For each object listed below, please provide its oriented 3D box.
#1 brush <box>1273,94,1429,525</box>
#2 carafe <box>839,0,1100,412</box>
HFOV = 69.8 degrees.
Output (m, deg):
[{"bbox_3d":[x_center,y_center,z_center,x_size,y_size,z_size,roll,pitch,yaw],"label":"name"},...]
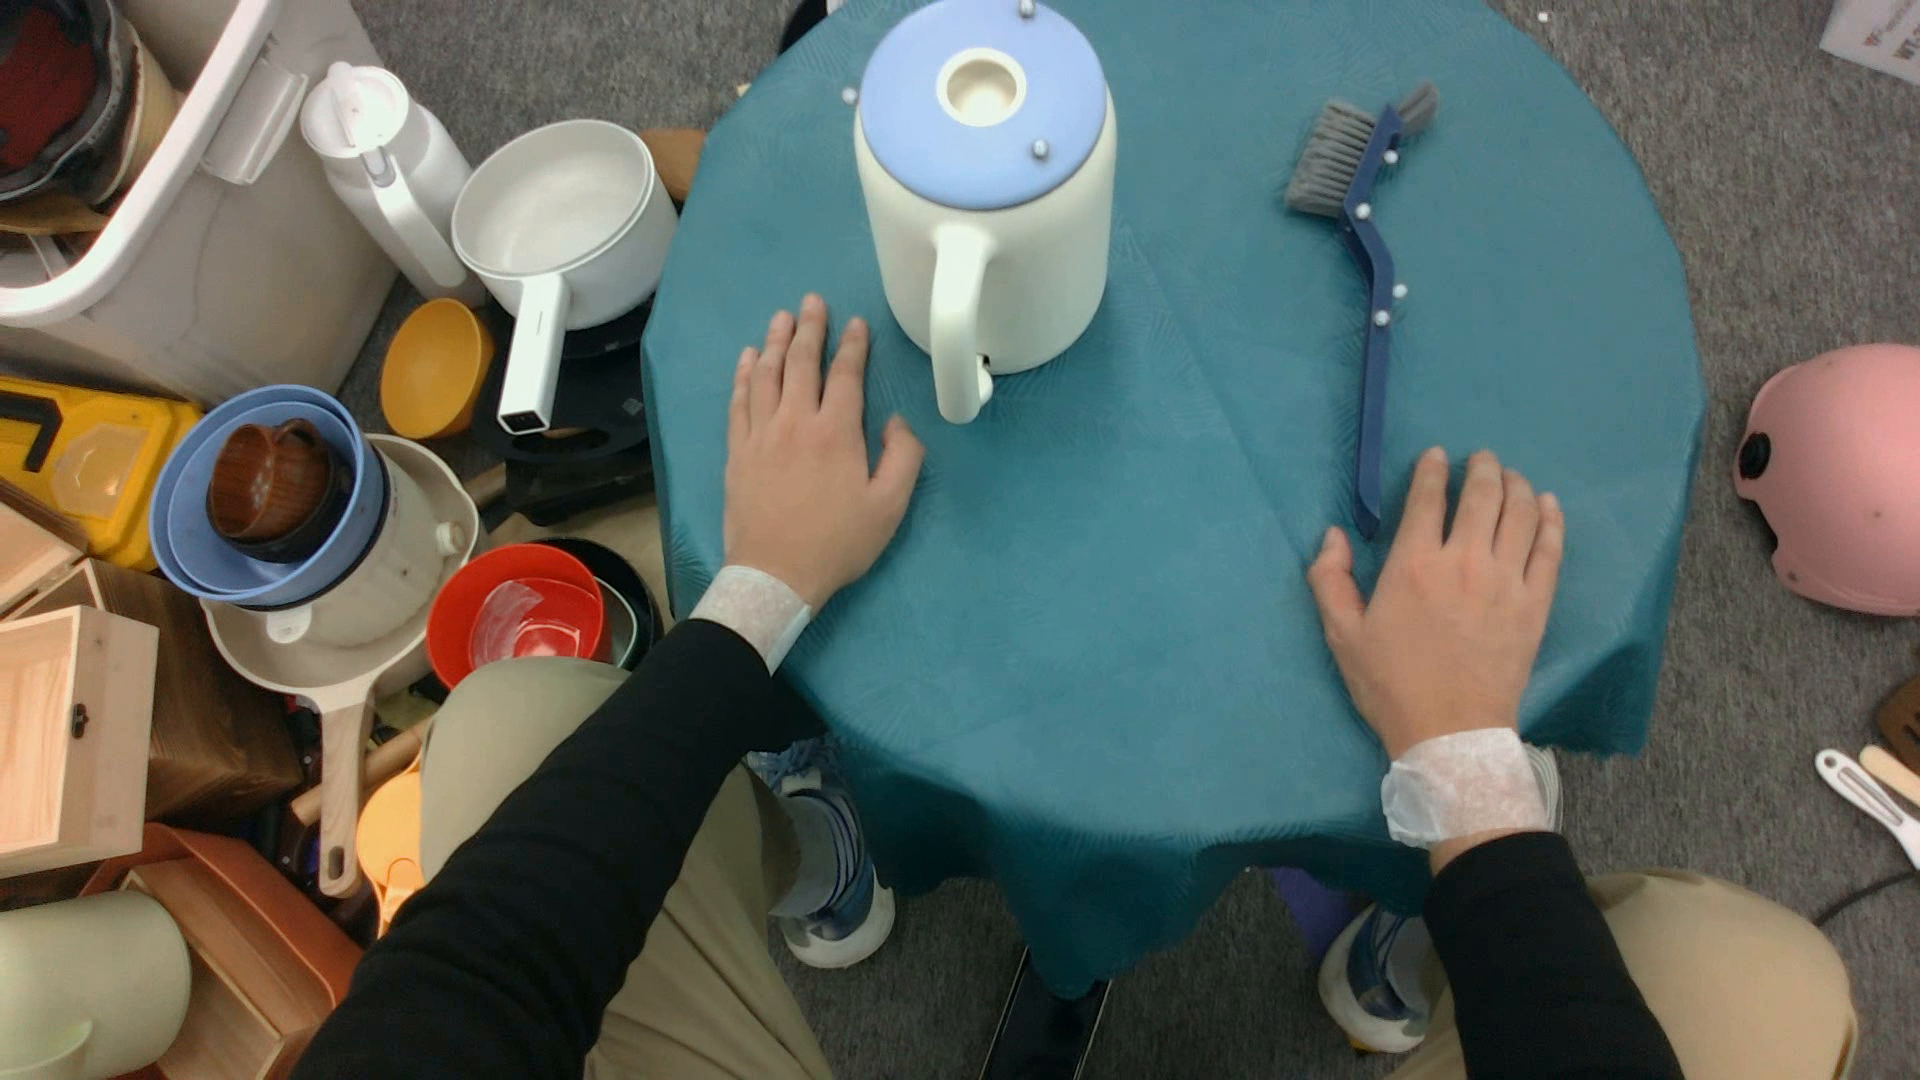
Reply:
[{"bbox_3d":[0.231,-0.139,0.784,0.096,0.033,0.274,1,70,0],"label":"brush"},{"bbox_3d":[0.003,-0.165,0.728,0.132,0.182,0.191,6,72,5],"label":"carafe"}]
